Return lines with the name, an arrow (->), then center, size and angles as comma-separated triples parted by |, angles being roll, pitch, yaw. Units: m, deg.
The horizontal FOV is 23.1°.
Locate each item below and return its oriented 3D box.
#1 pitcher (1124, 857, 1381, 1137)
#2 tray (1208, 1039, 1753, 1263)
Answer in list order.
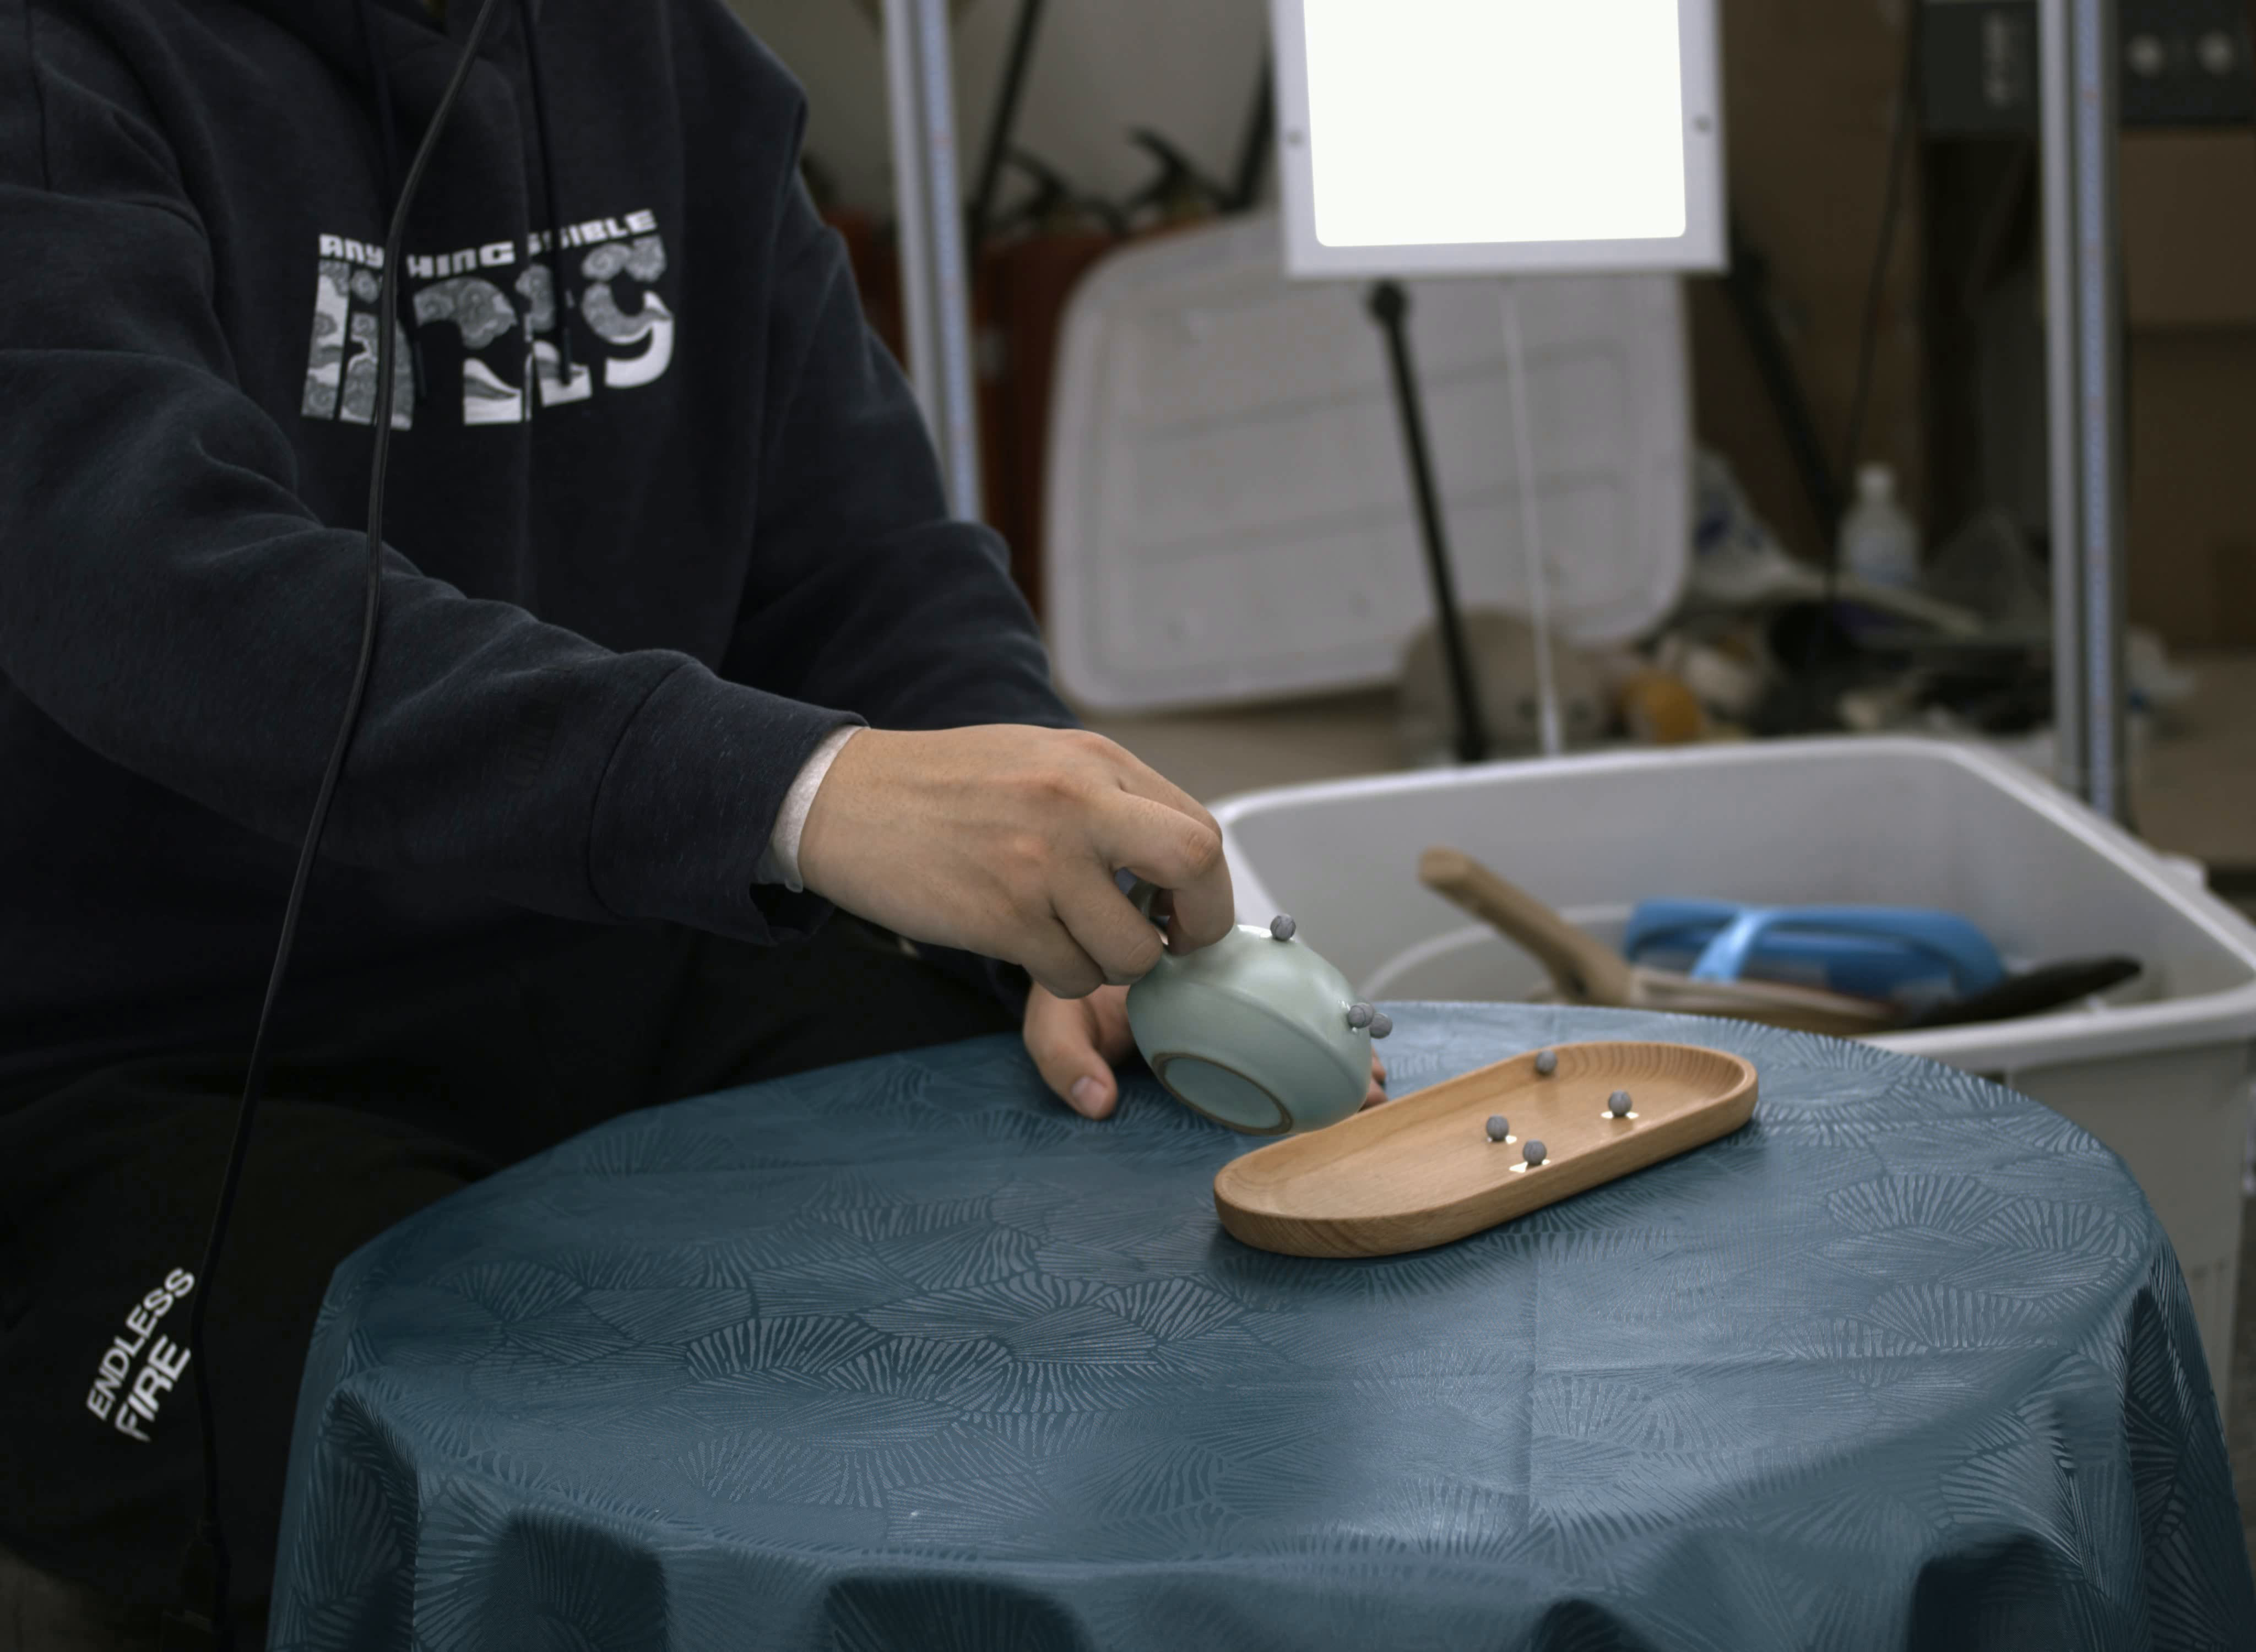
pitcher -> 0.036, 0.058, 1.783 | 0.088, 0.106, 0.060 | -3, 54, 51
tray -> 0.124, 0.110, 1.889 | 0.225, 0.020, 0.104 | -20, 18, -40
